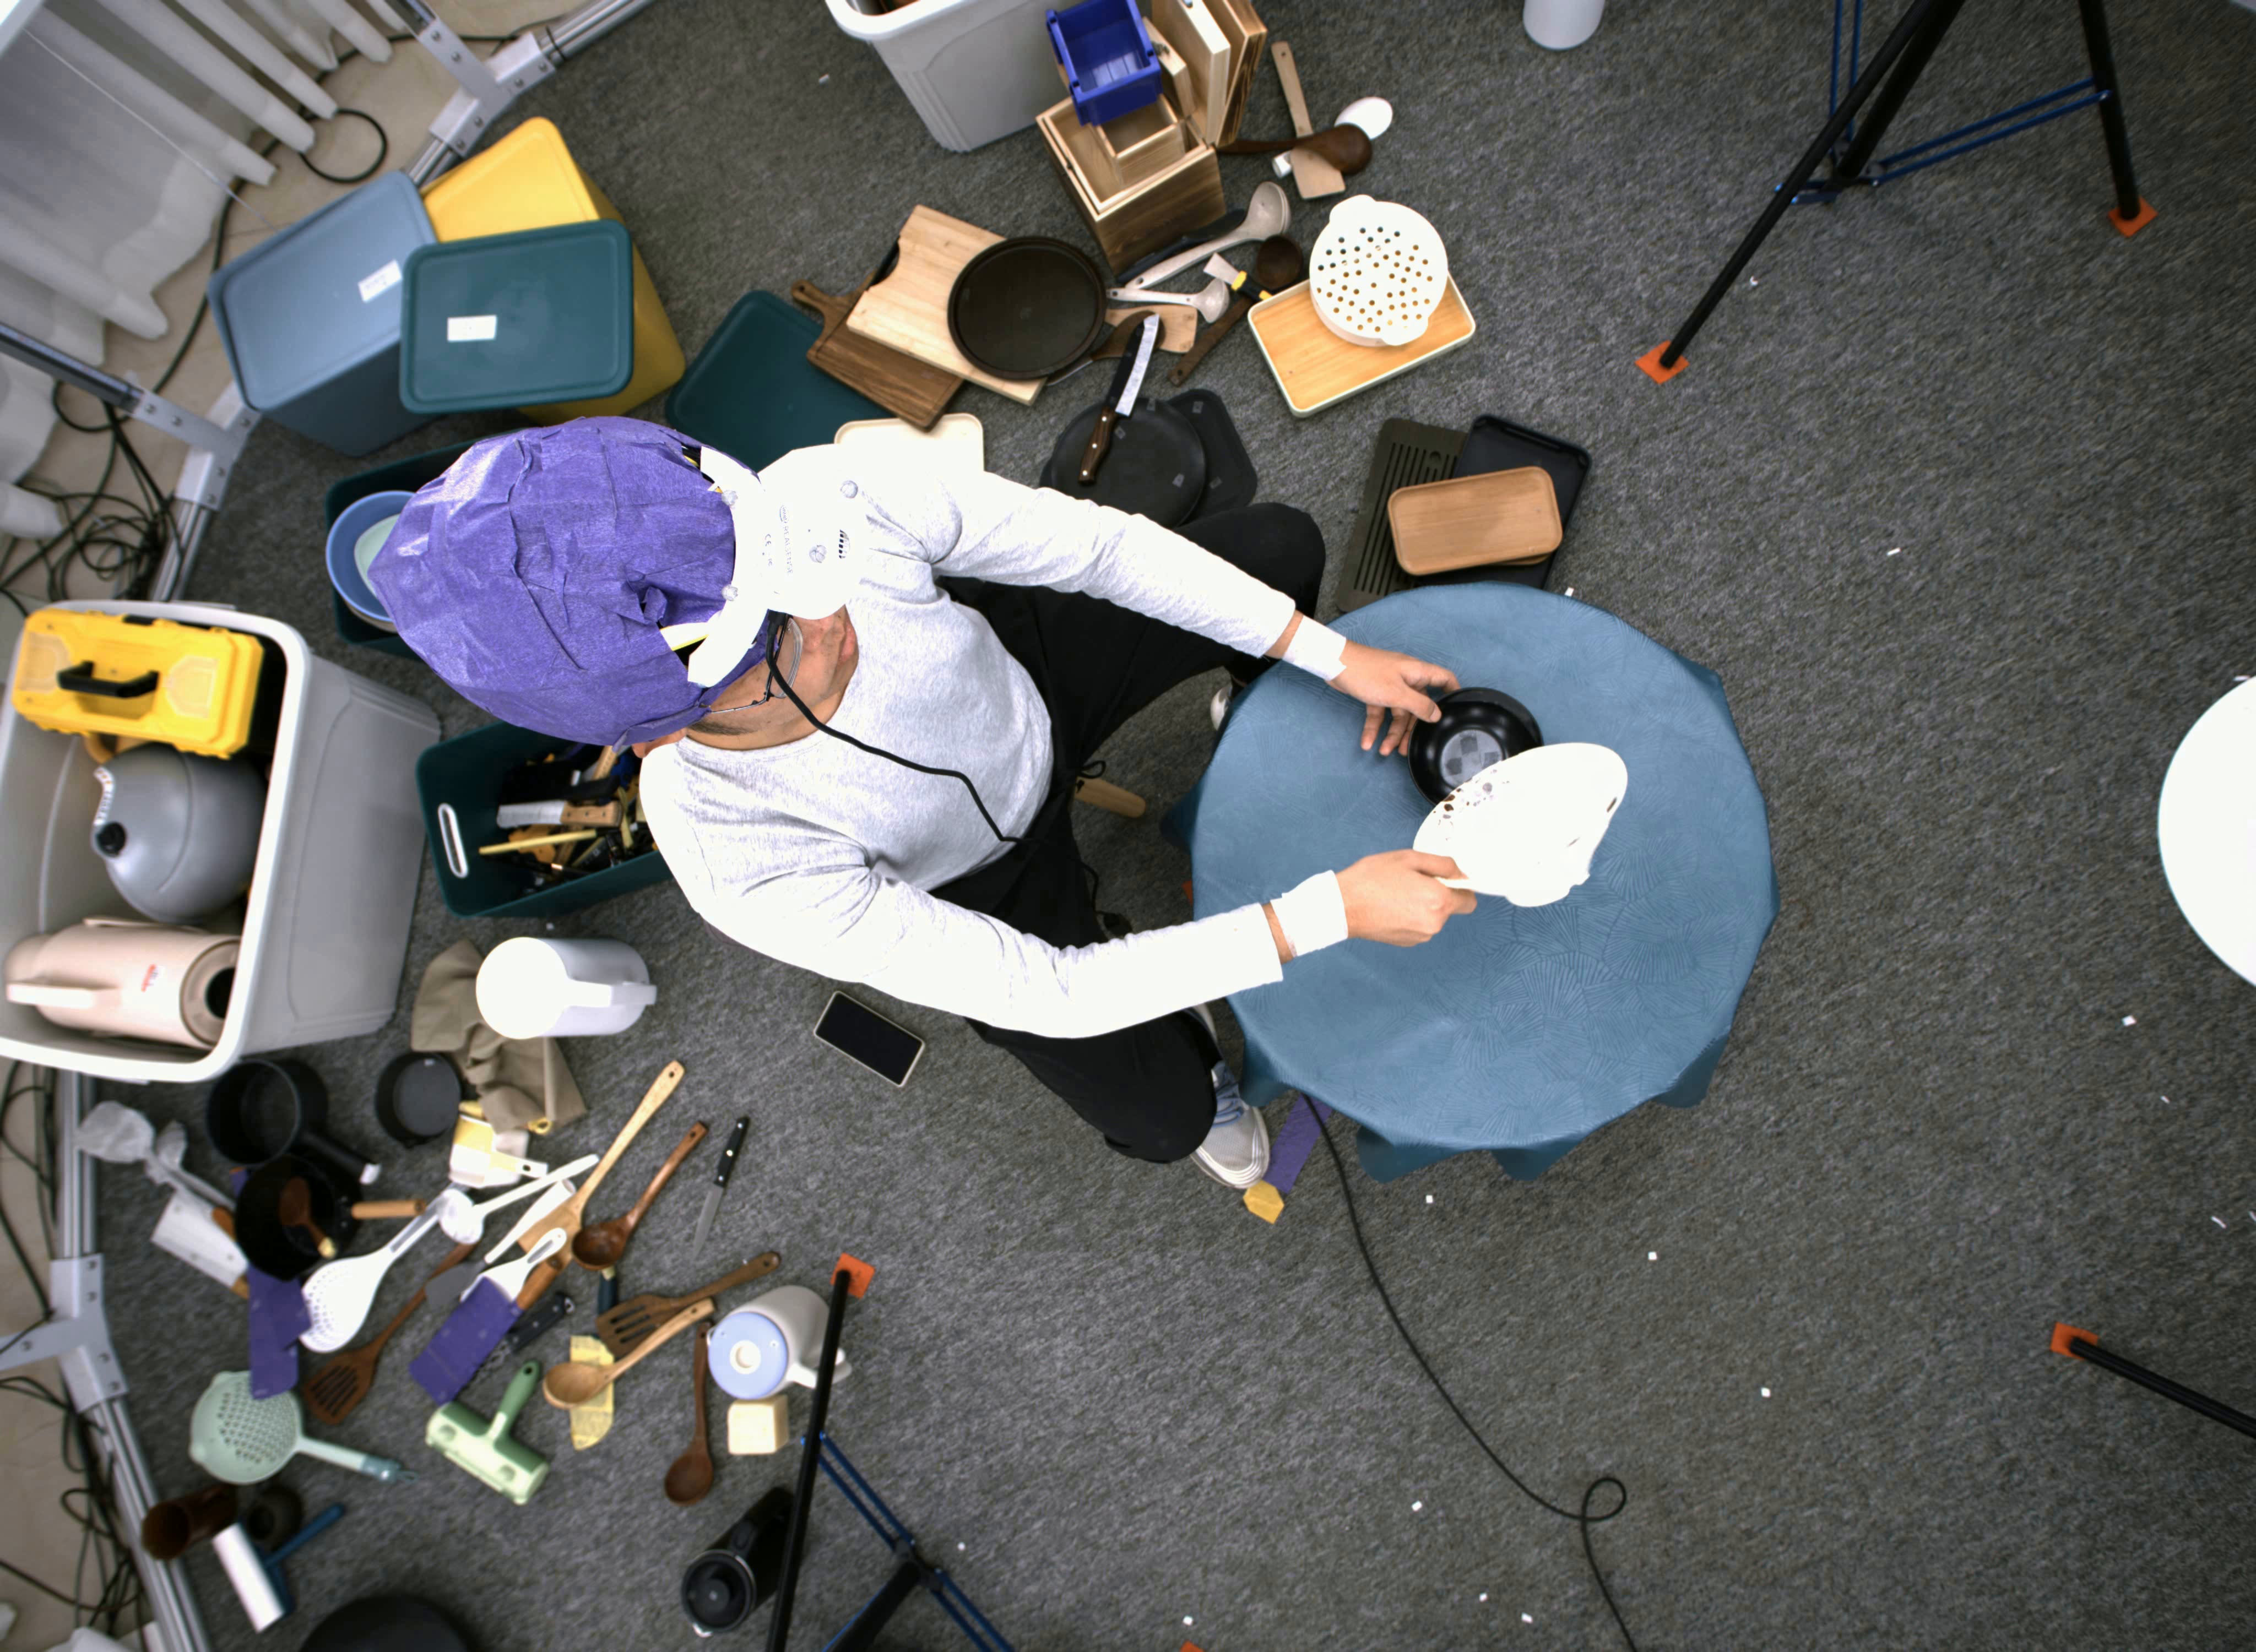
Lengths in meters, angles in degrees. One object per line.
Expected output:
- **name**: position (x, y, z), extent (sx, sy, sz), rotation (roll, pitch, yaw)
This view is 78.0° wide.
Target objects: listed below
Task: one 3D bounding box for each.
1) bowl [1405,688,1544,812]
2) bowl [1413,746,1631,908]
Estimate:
- **bowl**: position (0.360, -0.073, 1.430), extent (0.141, 0.050, 0.139), rotation (-2, 84, 15)
- **bowl**: position (0.366, 0.015, 1.237), extent (0.205, 0.200, 0.079), rotation (-32, 112, 6)
